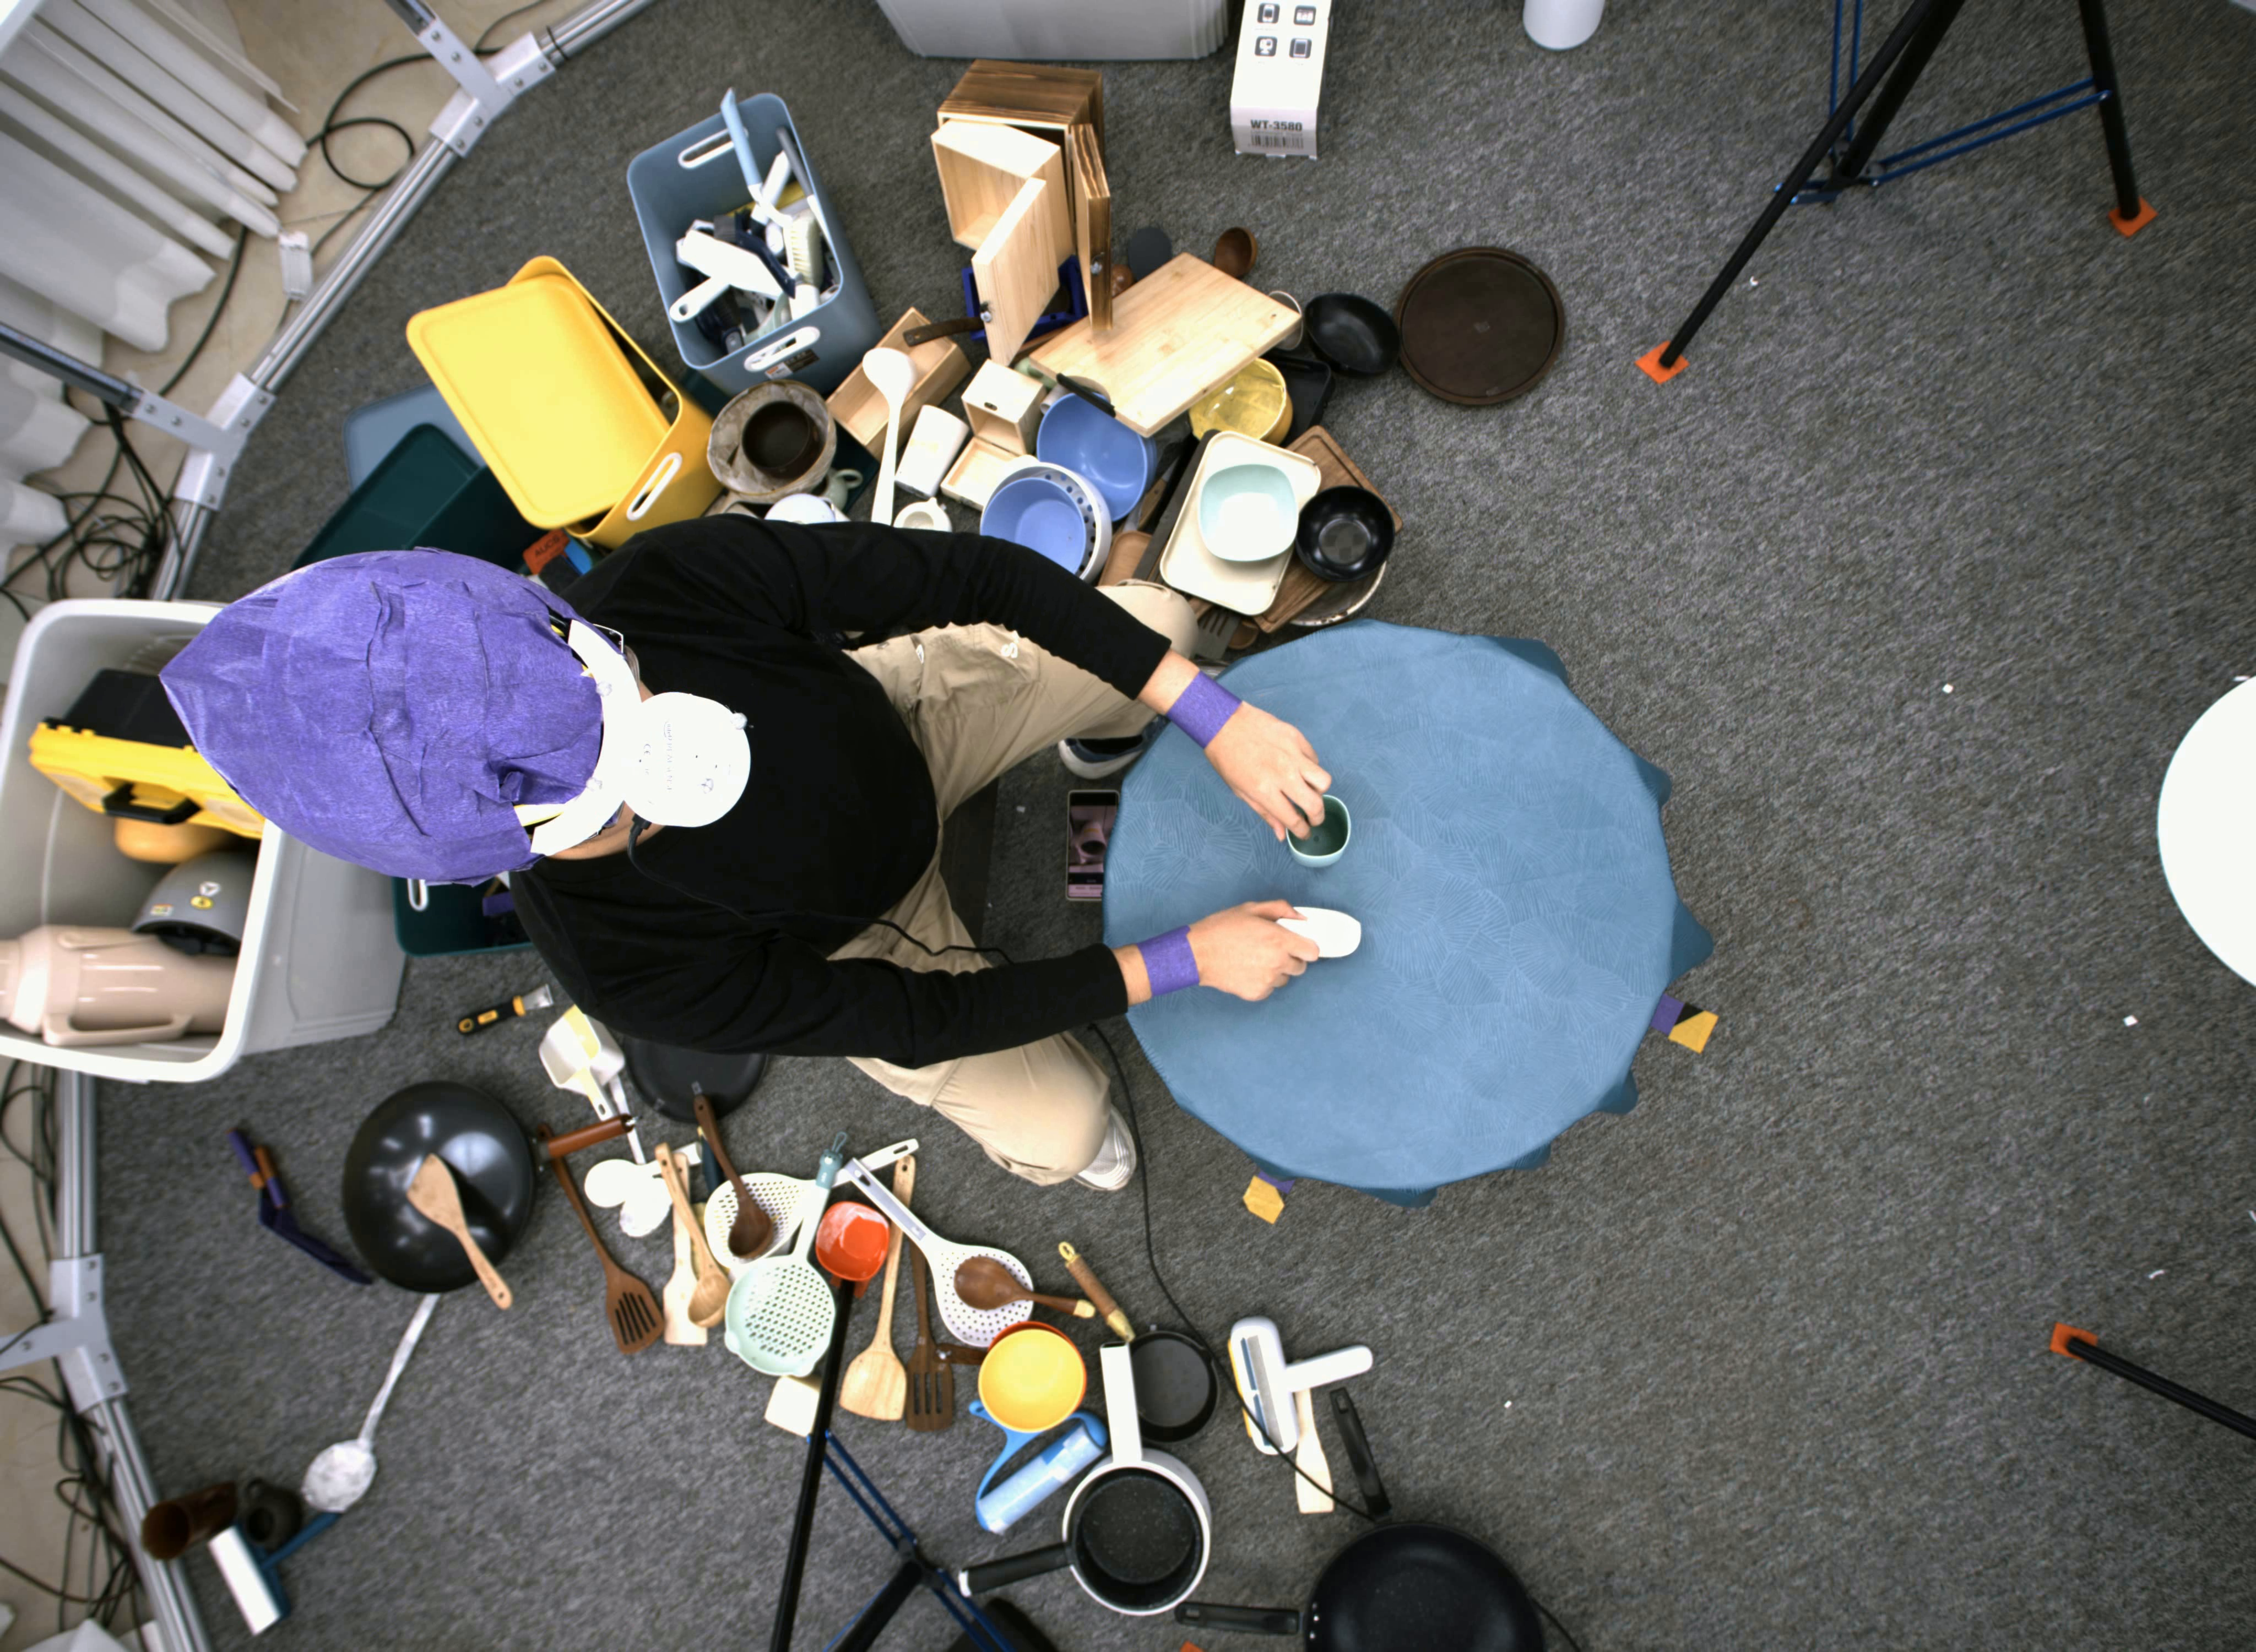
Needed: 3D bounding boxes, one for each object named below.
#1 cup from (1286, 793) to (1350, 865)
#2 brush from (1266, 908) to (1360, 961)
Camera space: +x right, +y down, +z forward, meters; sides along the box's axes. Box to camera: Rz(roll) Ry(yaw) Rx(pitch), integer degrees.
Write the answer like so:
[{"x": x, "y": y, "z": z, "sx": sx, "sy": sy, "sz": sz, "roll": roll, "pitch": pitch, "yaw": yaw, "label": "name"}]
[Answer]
[{"x": 0.193, "y": 0.006, "z": 1.413, "sx": 0.067, "sy": 0.132, "sz": 0.066, "roll": -1, "pitch": 85, "yaw": 7, "label": "cup"}, {"x": 0.191, "y": 0.110, "z": 1.434, "sx": 0.099, "sy": 0.073, "sz": 0.050, "roll": 8, "pitch": 85, "yaw": 10, "label": "brush"}]
